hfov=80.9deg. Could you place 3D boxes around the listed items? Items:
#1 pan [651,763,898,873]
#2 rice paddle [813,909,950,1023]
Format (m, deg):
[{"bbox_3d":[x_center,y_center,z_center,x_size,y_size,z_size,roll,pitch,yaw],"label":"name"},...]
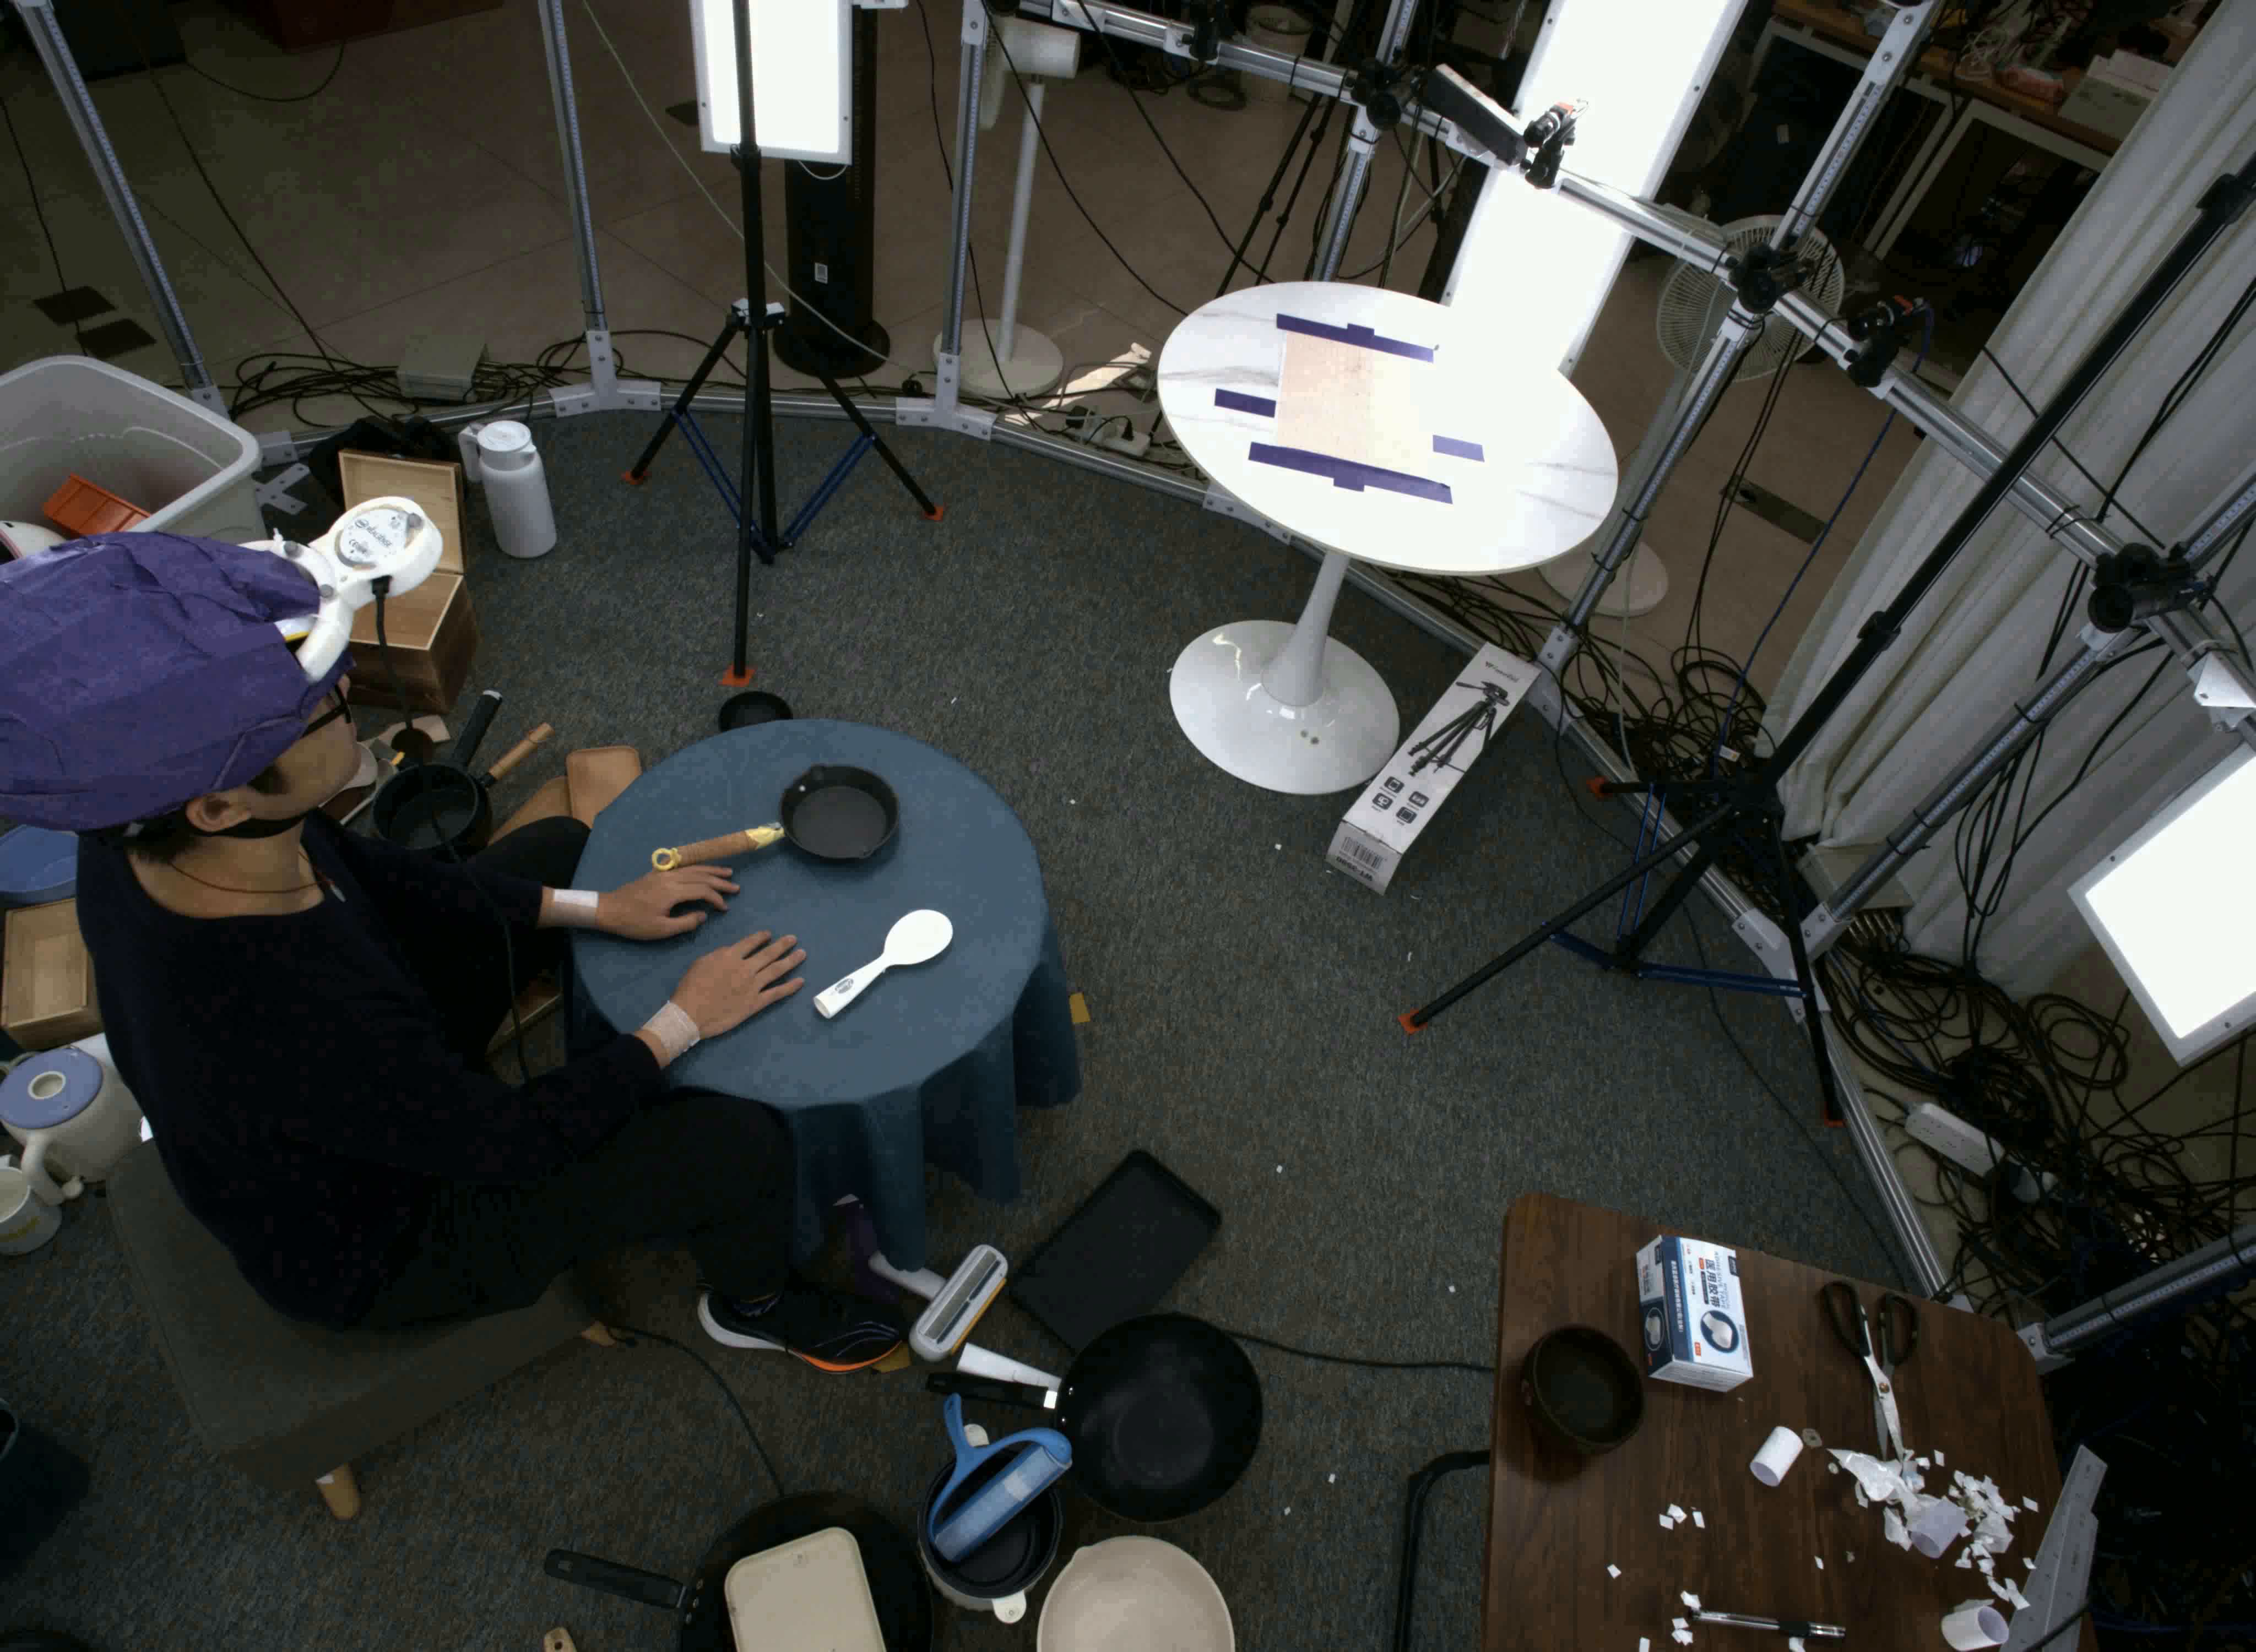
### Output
[{"bbox_3d":[-0.454,0.006,1.669,0.326,0.050,0.165,-18,60,-28],"label":"pan"},{"bbox_3d":[-0.301,0.165,1.604,0.067,0.030,0.205,41,55,14],"label":"rice paddle"}]
